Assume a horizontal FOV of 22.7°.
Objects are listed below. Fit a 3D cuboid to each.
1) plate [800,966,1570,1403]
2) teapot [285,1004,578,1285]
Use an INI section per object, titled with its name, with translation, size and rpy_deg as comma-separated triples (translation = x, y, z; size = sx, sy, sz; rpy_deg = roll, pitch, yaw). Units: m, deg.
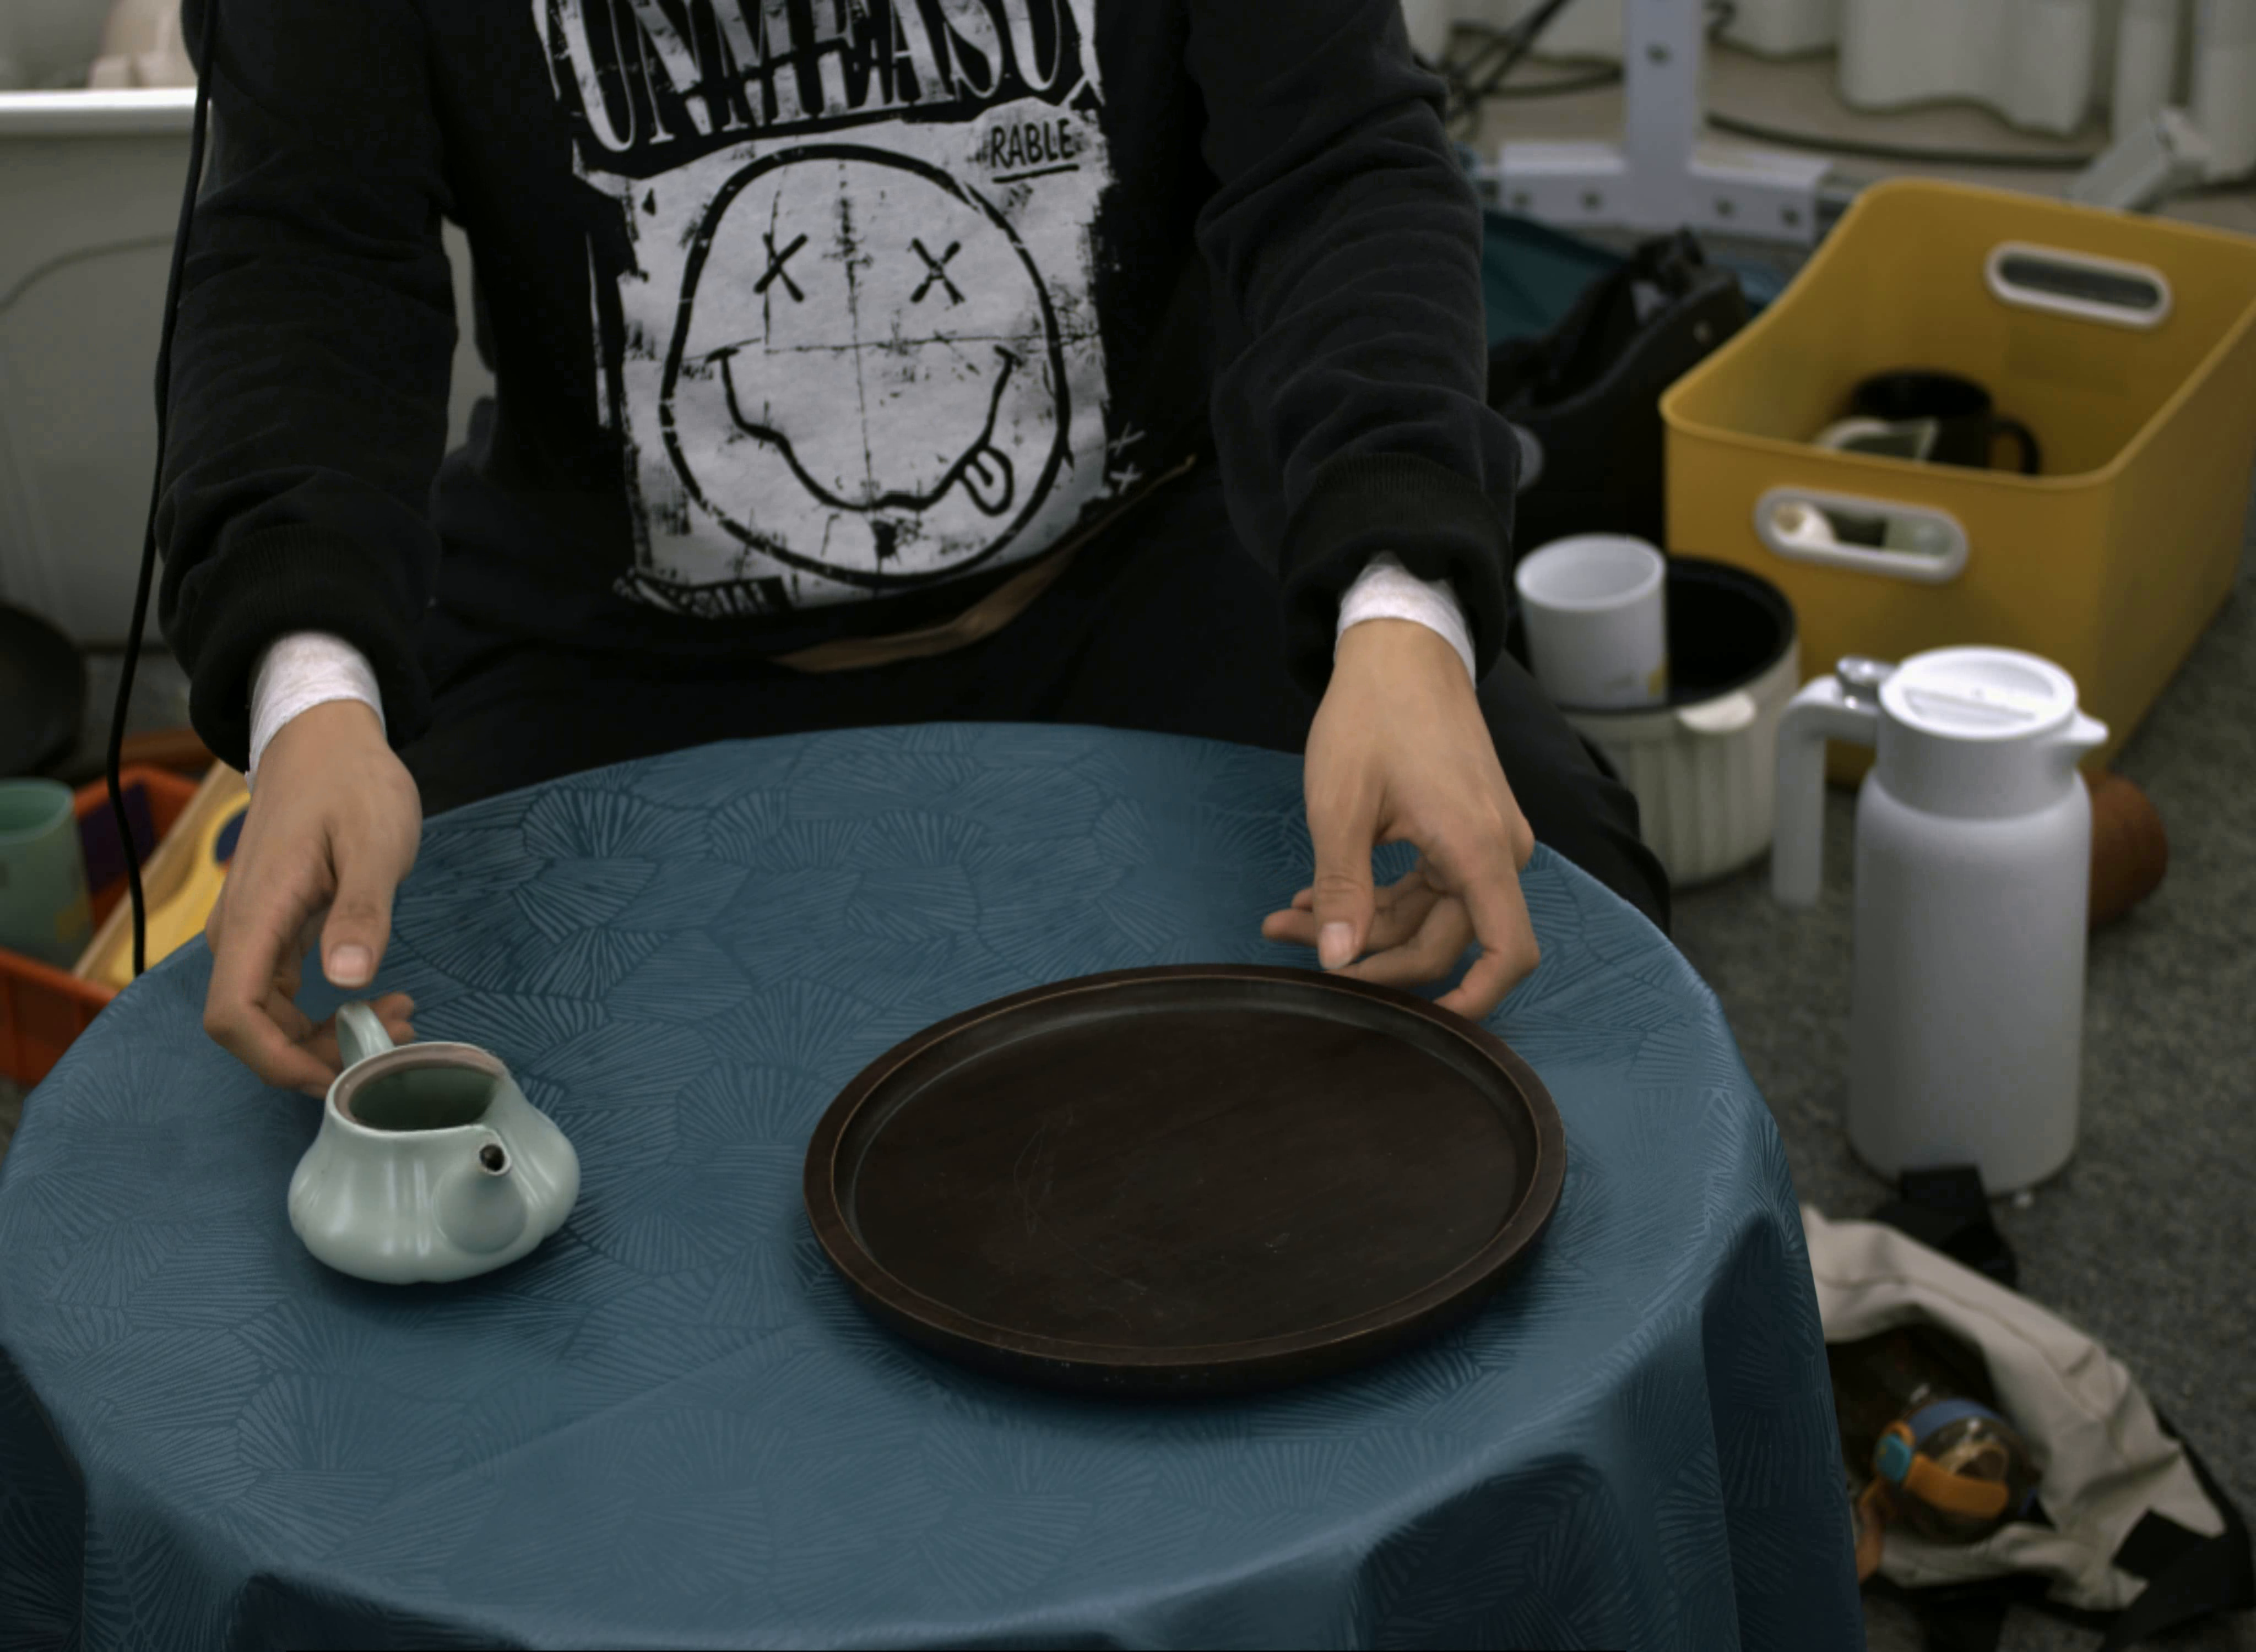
[plate]
translation = 0.019, 0.116, 1.842
size = 0.253, 0.029, 0.259
rpy_deg = -3, 28, 2
[teapot]
translation = -0.232, 0.107, 1.844
size = 0.097, 0.061, 0.137
rpy_deg = -19, 32, -27
